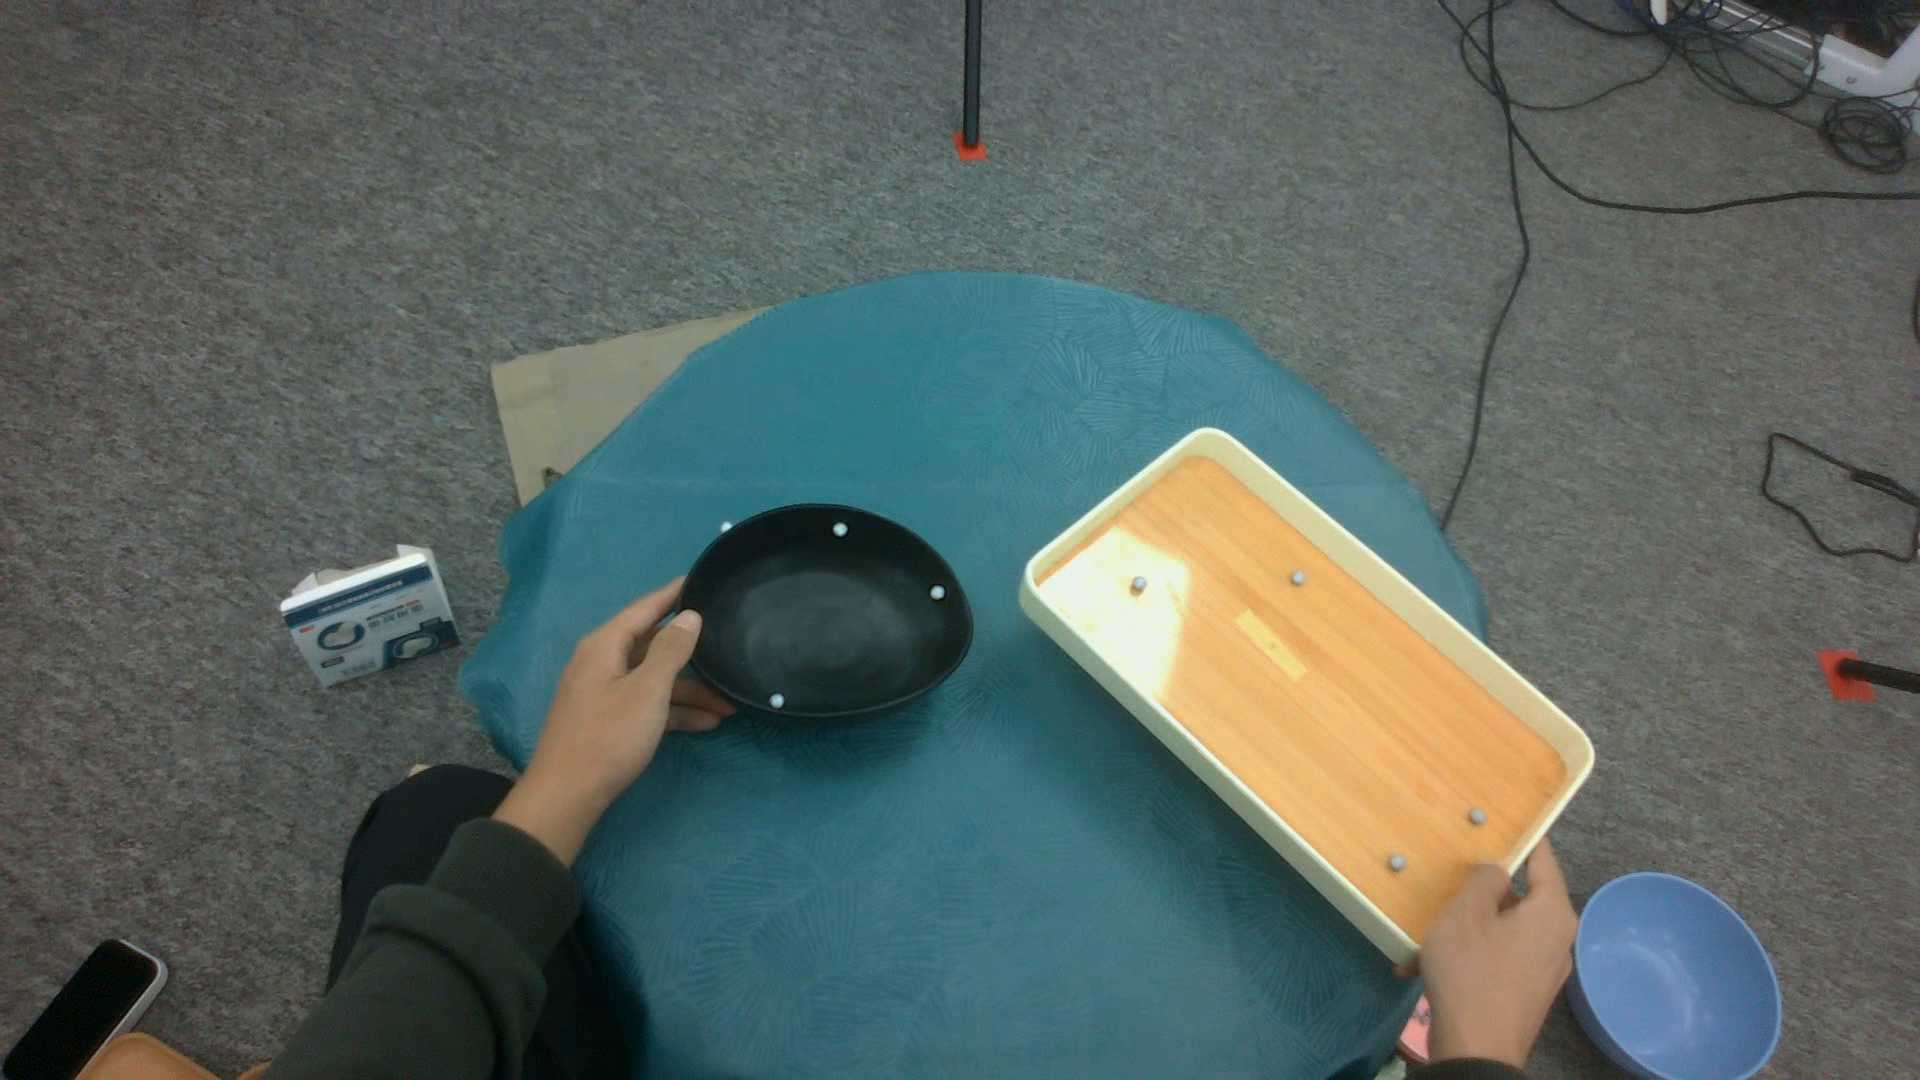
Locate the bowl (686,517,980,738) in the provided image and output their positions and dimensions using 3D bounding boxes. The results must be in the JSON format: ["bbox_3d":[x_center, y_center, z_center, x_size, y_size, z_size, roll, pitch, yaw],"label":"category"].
[{"bbox_3d":[-0.075,0.059,0.815,0.170,0.066,0.138,0,59,-9],"label":"bowl"}]

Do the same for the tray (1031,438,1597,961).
[{"bbox_3d":[0.205,0.079,0.806,0.300,0.027,0.192,43,57,18],"label":"tray"}]
